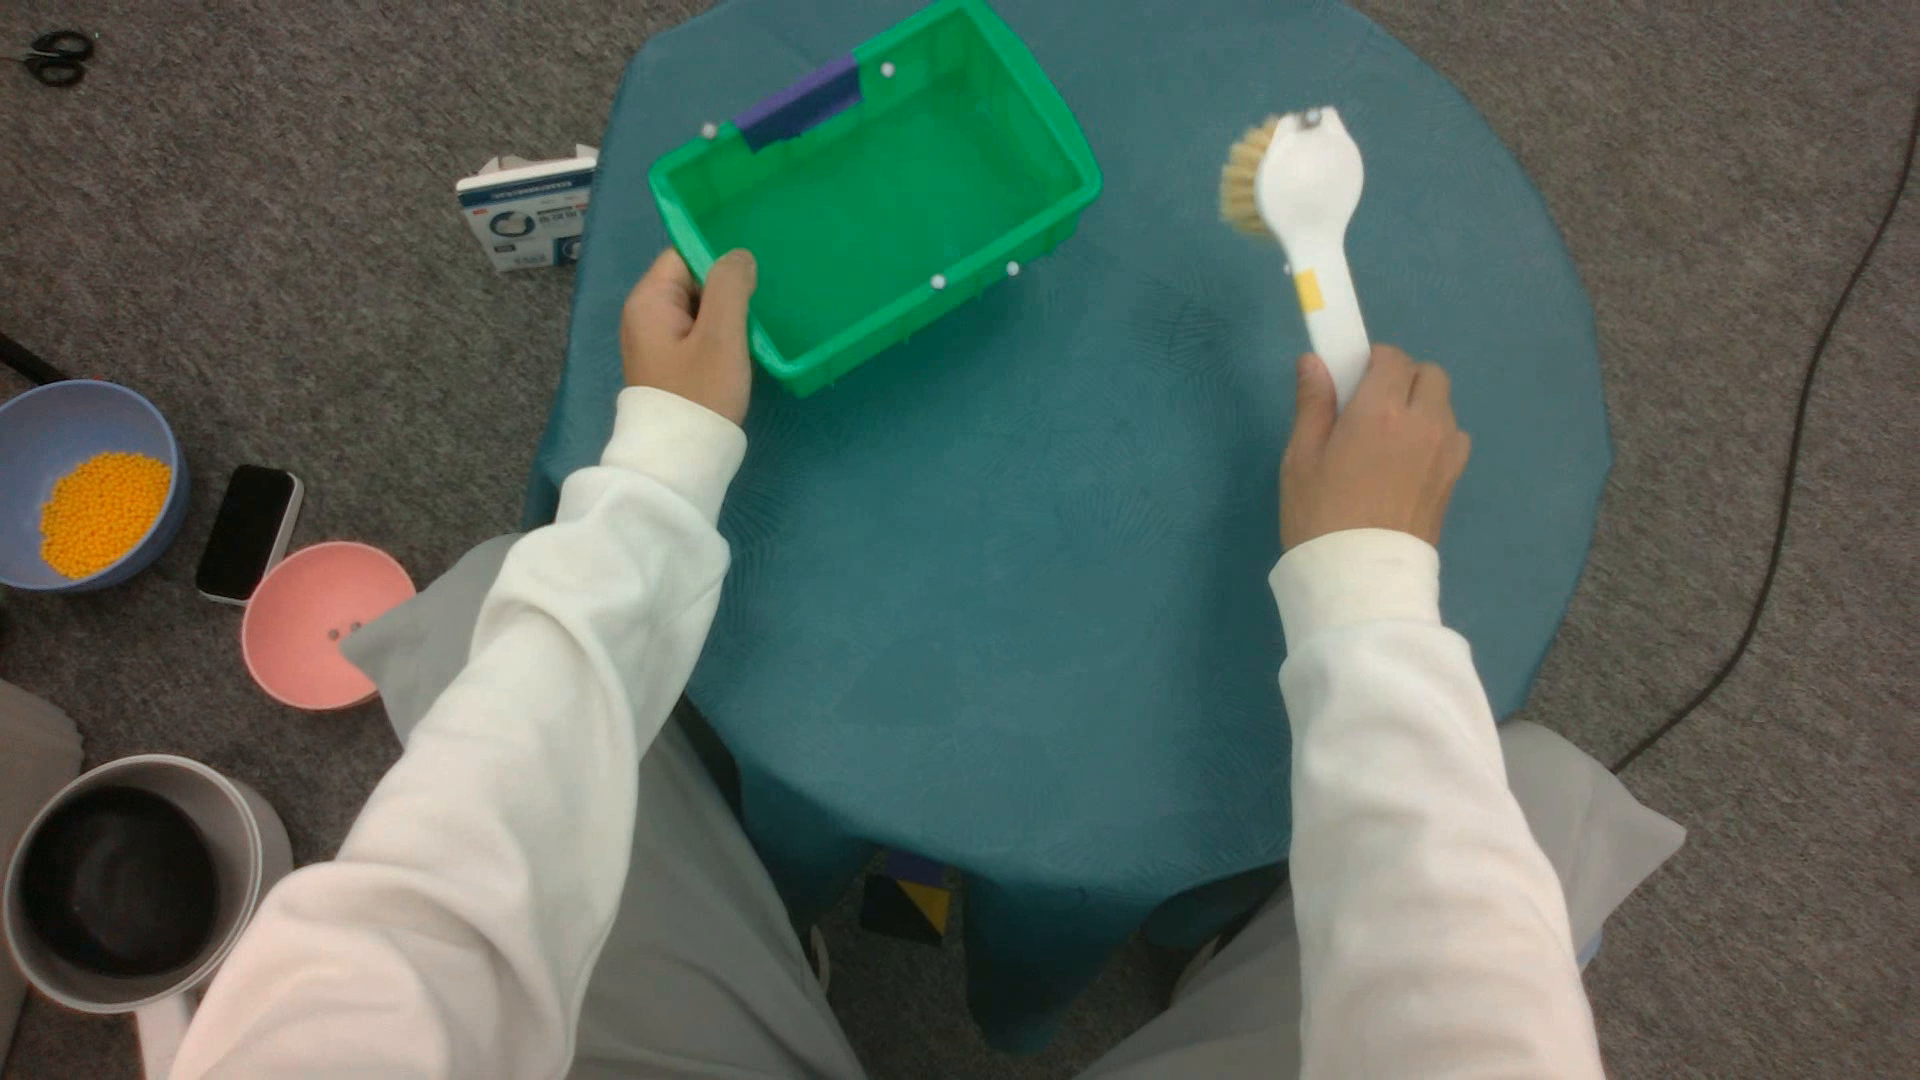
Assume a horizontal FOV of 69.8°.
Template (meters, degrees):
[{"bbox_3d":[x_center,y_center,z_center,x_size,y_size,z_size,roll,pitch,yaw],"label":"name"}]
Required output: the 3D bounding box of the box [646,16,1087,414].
[{"bbox_3d":[-0.048,-0.171,0.750,0.210,0.065,0.139,-35,78,-6],"label":"box"}]

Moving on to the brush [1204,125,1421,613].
[{"bbox_3d":[0.194,-0.091,0.742,0.068,0.056,0.266,-16,96,-3],"label":"brush"}]
